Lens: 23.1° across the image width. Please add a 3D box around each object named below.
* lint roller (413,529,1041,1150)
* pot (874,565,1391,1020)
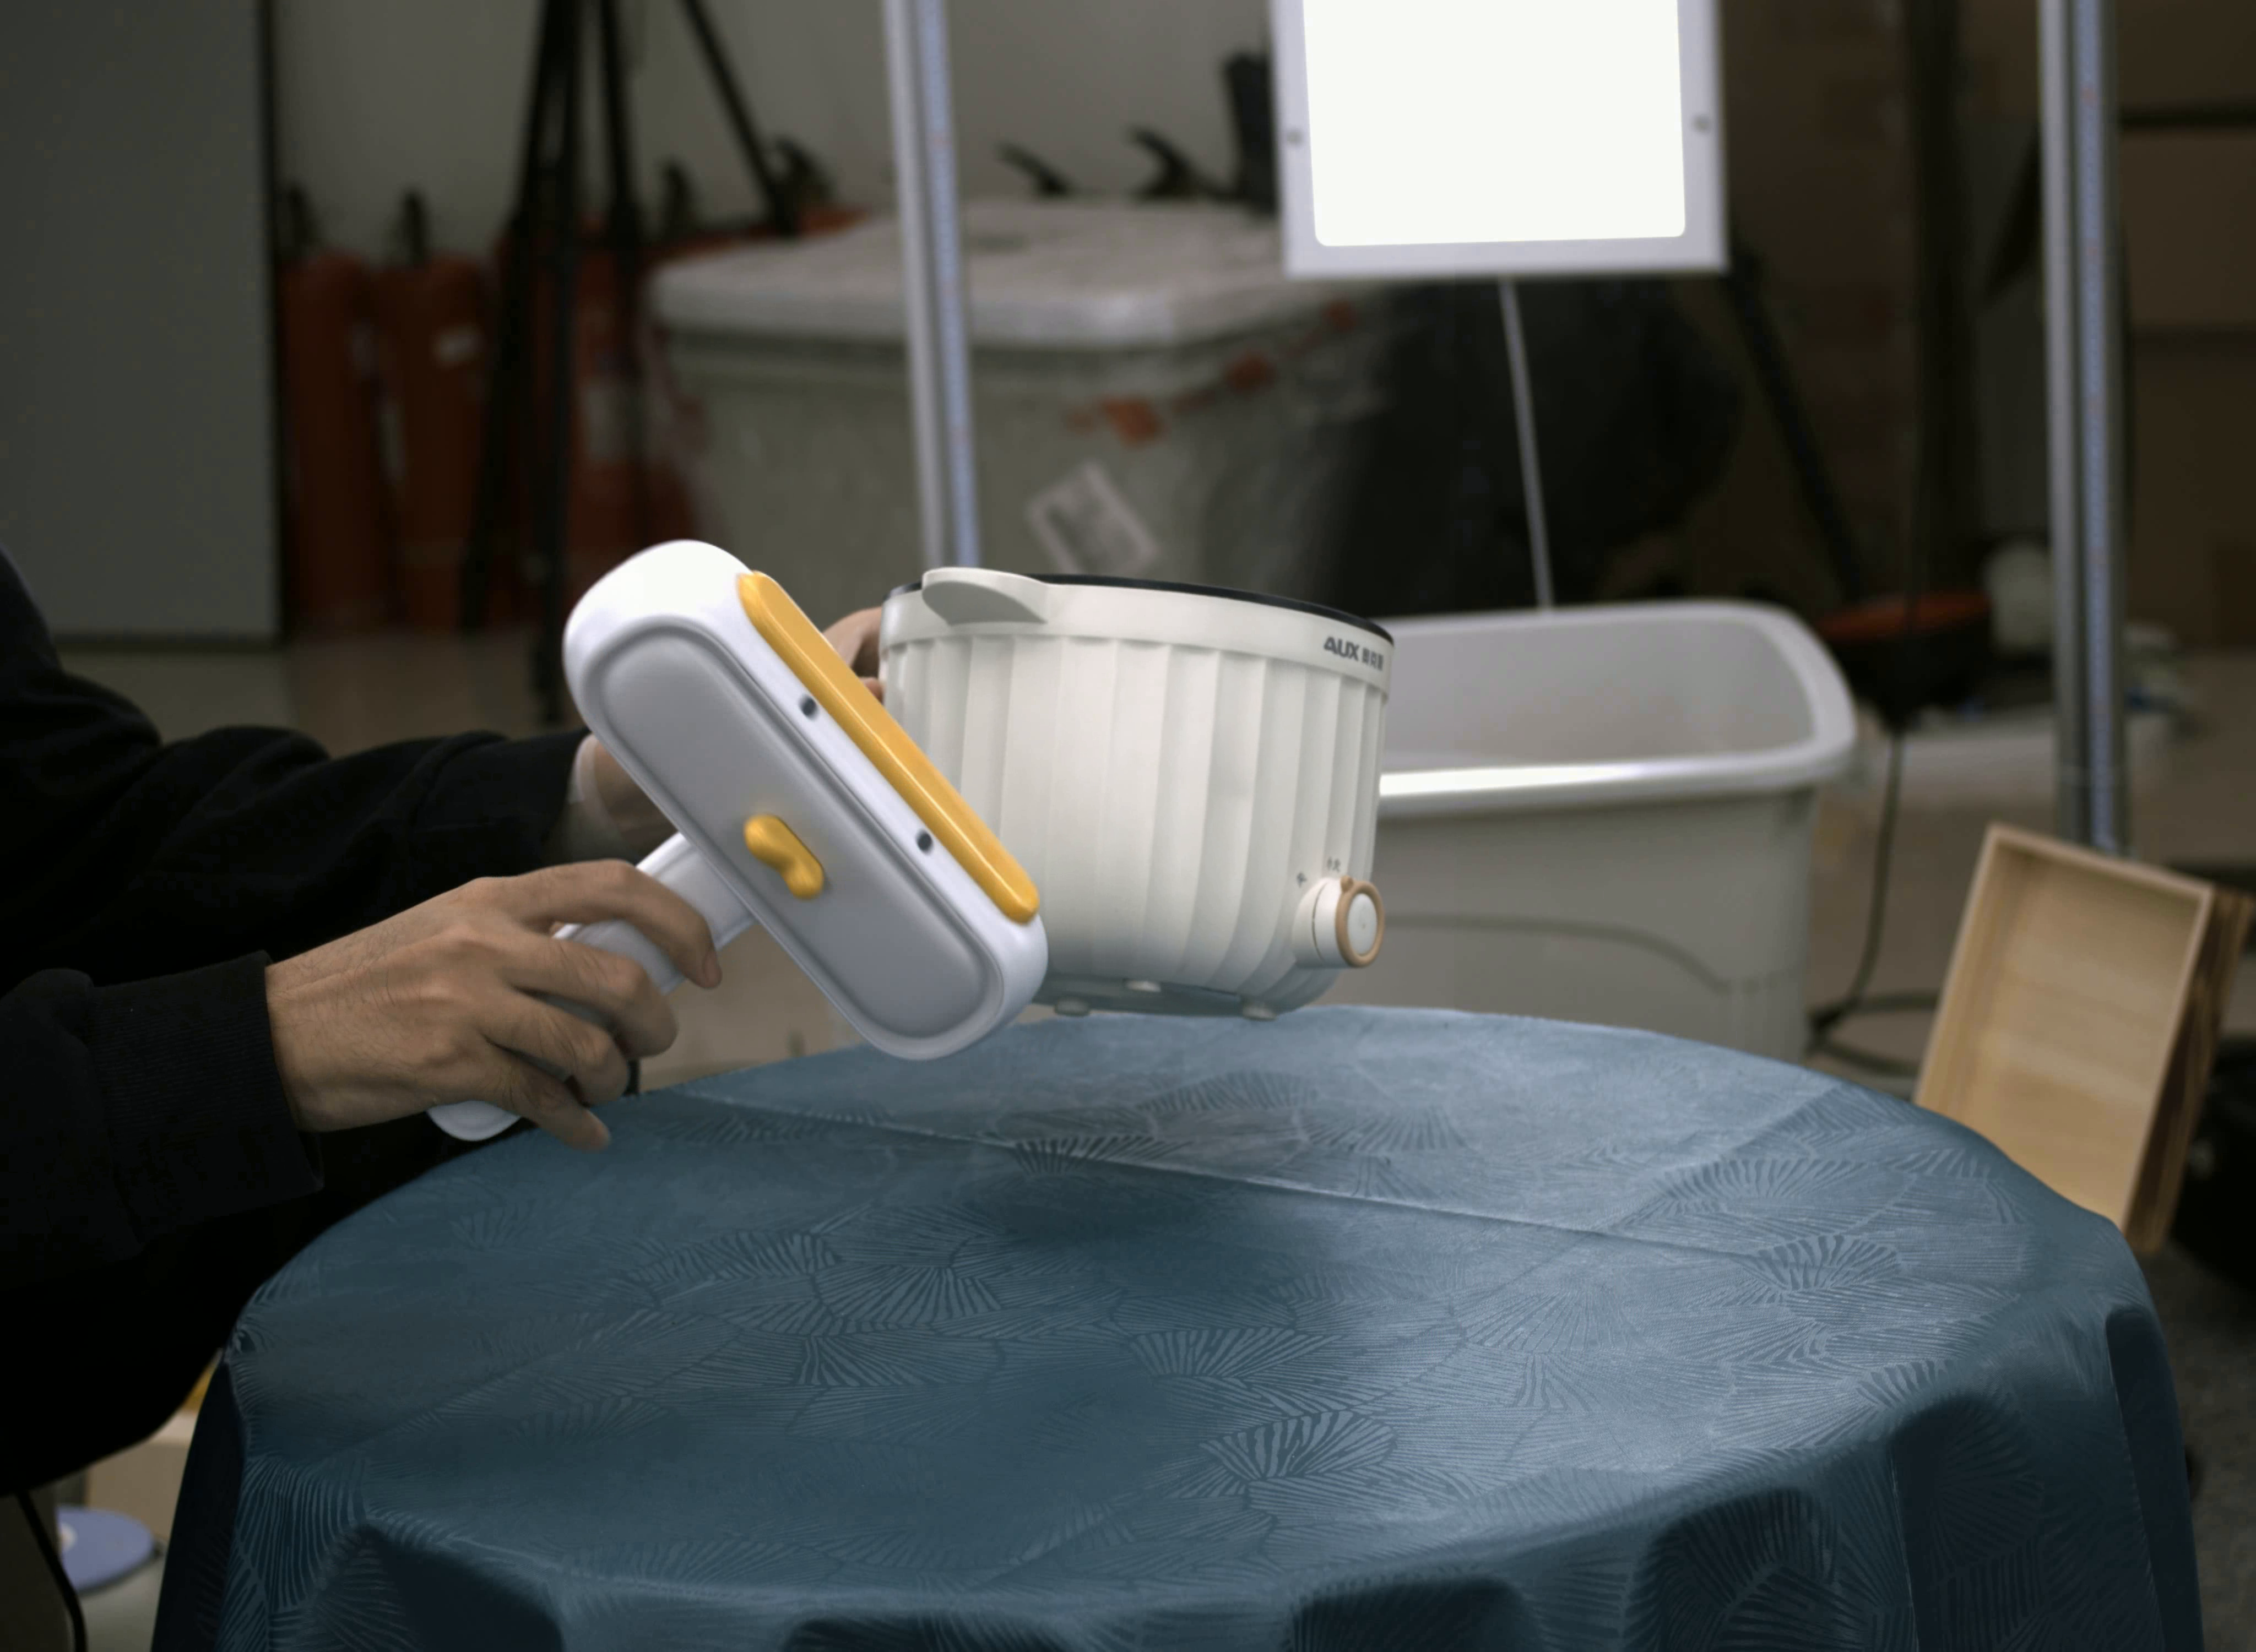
[{"bbox_3d":[-0.148,0.028,1.735,0.195,0.191,0.074,-38,23,18],"label":"lint roller"},{"bbox_3d":[0.004,-0.007,1.919,0.194,0.143,0.235,-3,-9,32],"label":"pot"}]
